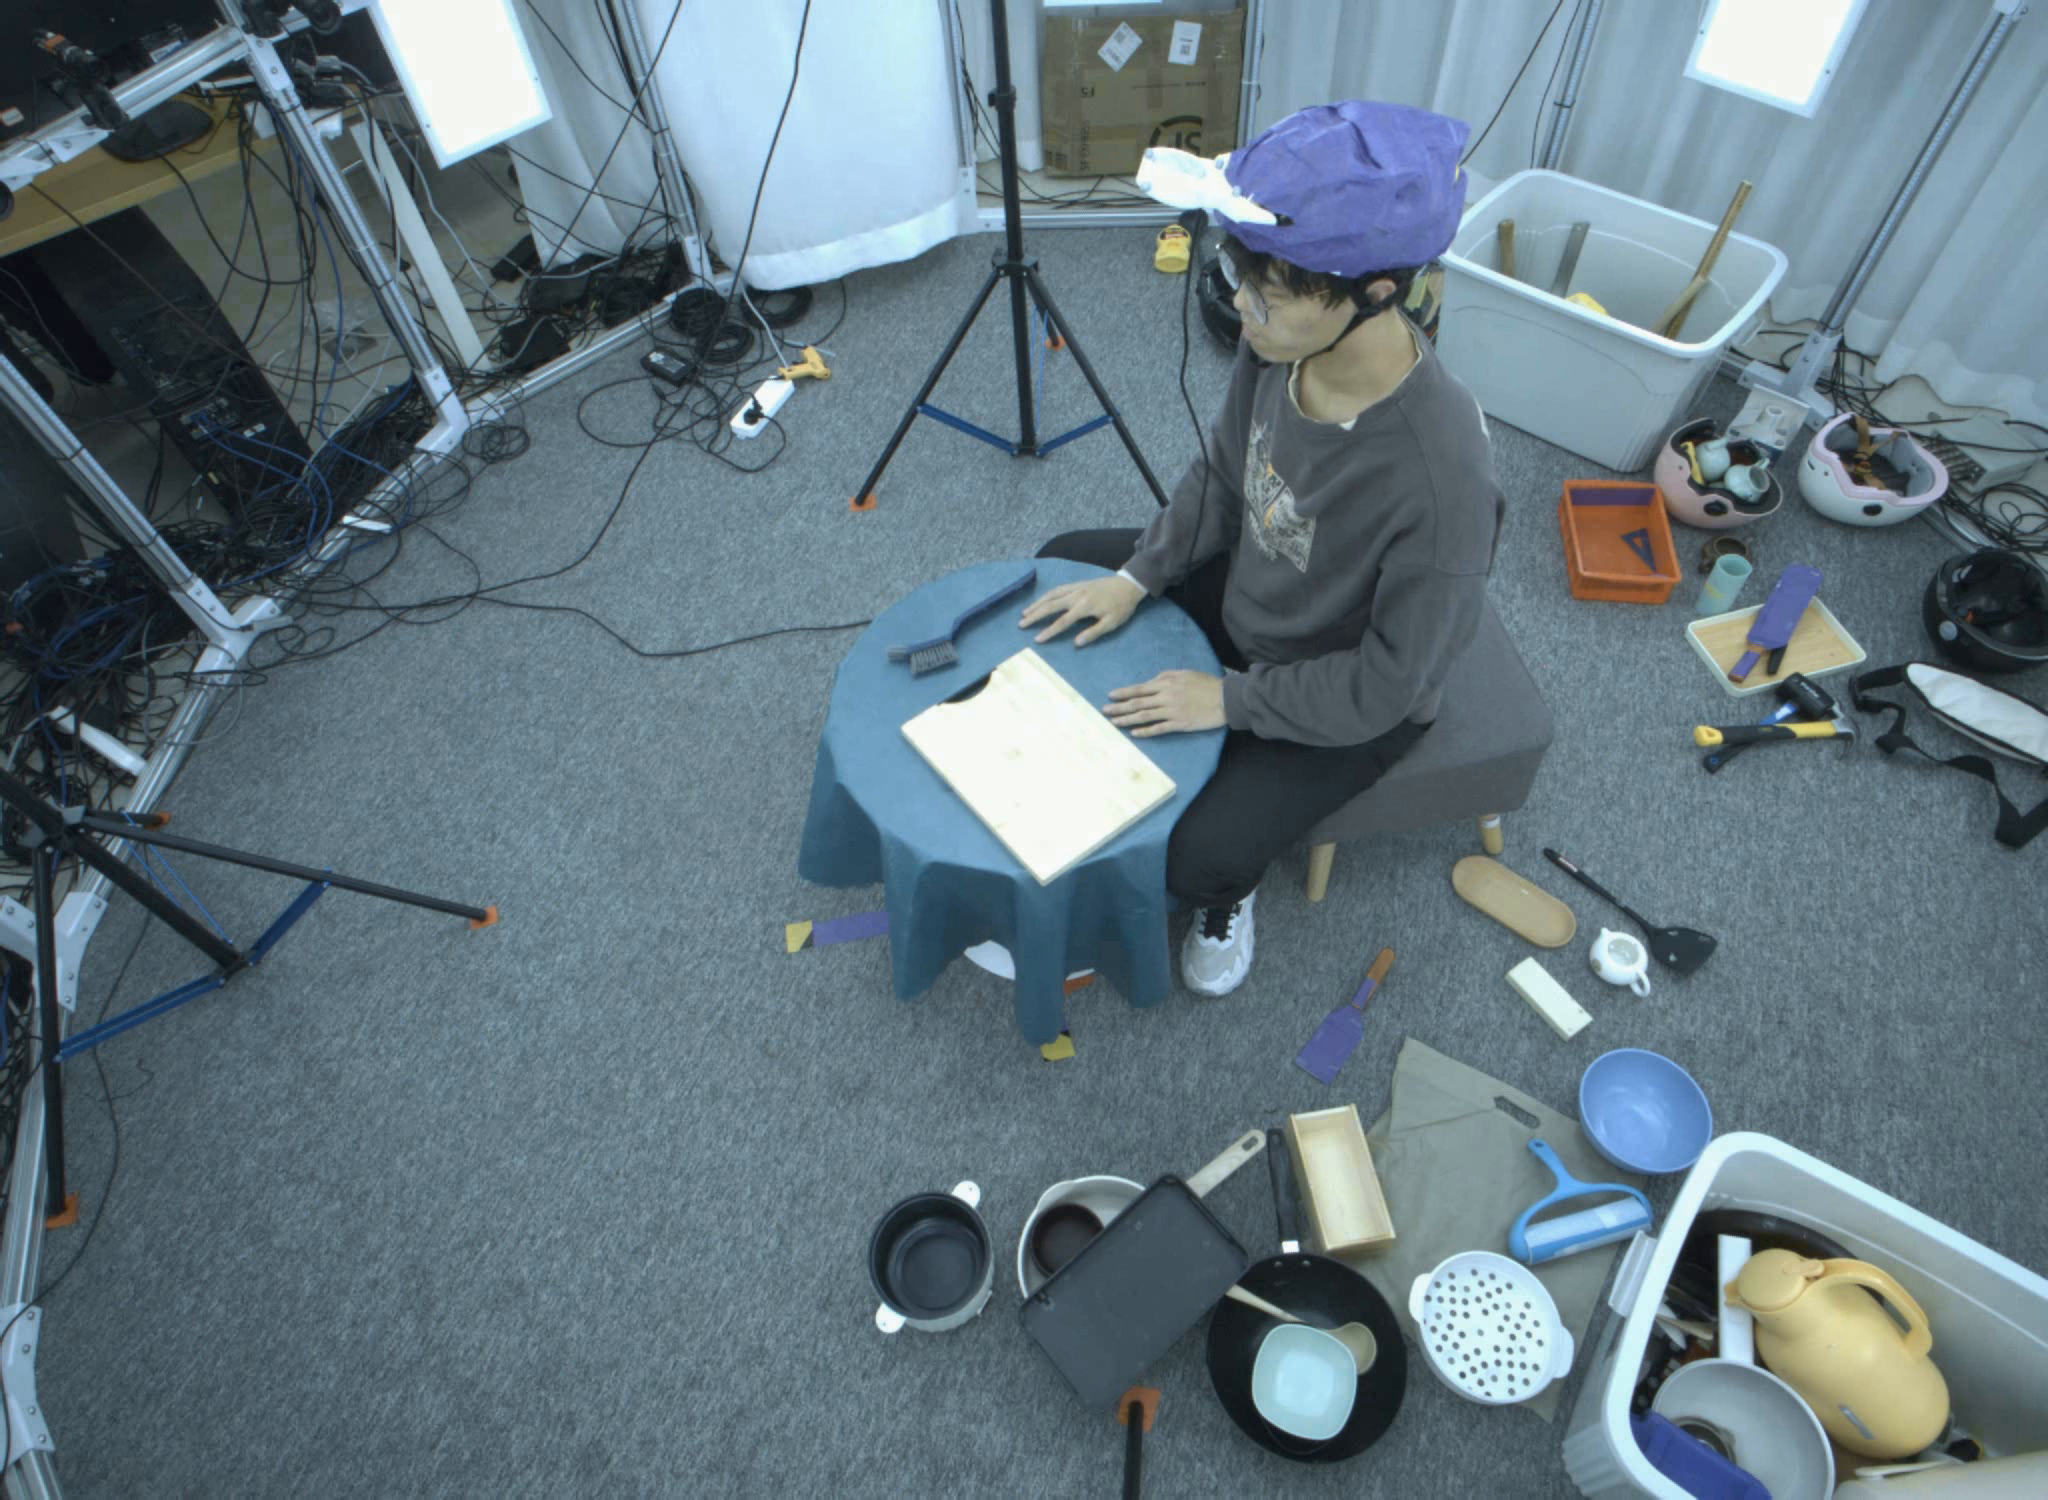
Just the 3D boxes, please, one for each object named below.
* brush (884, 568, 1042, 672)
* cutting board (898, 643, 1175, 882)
[{"bbox_3d":[-0.089,-0.213,1.922,0.094,0.034,0.275,38,65,25],"label":"brush"},{"bbox_3d":[0.013,0.009,1.768,0.253,0.024,0.342,-34,60,-21],"label":"cutting board"}]
